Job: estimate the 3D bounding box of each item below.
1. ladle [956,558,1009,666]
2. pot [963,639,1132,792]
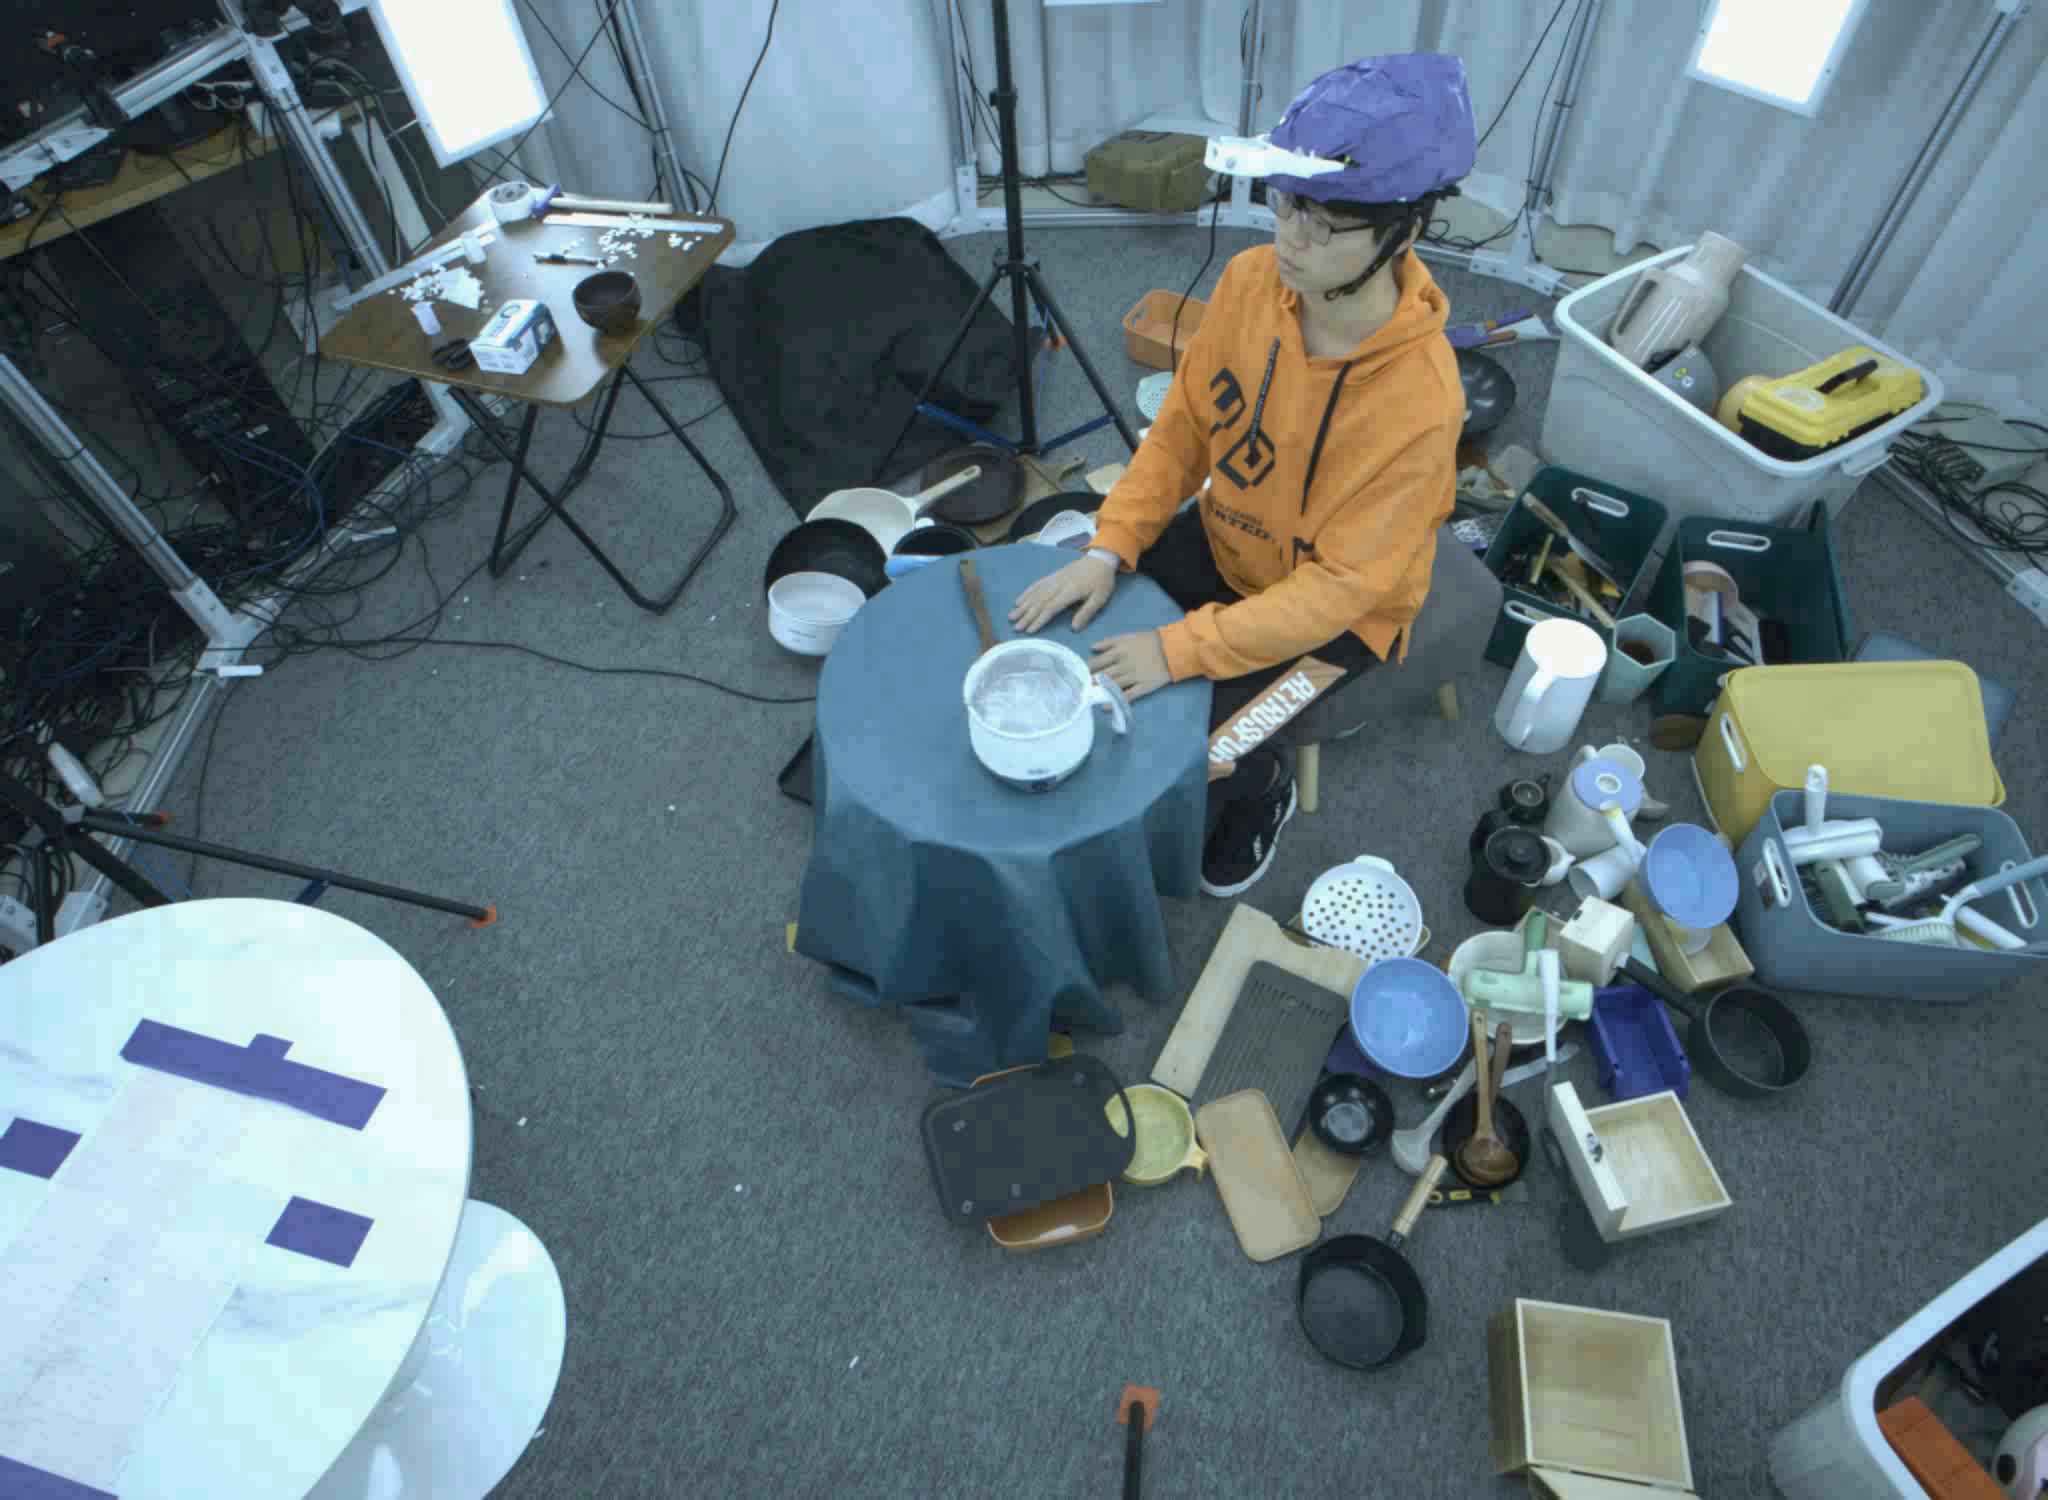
[{"bbox_3d":[-0.068,-0.225,1.906,0.076,0.072,0.270,-11,56,-9],"label":"ladle"},{"bbox_3d":[0.036,-0.052,1.738,0.234,0.138,0.176,-9,55,-3],"label":"pot"}]
